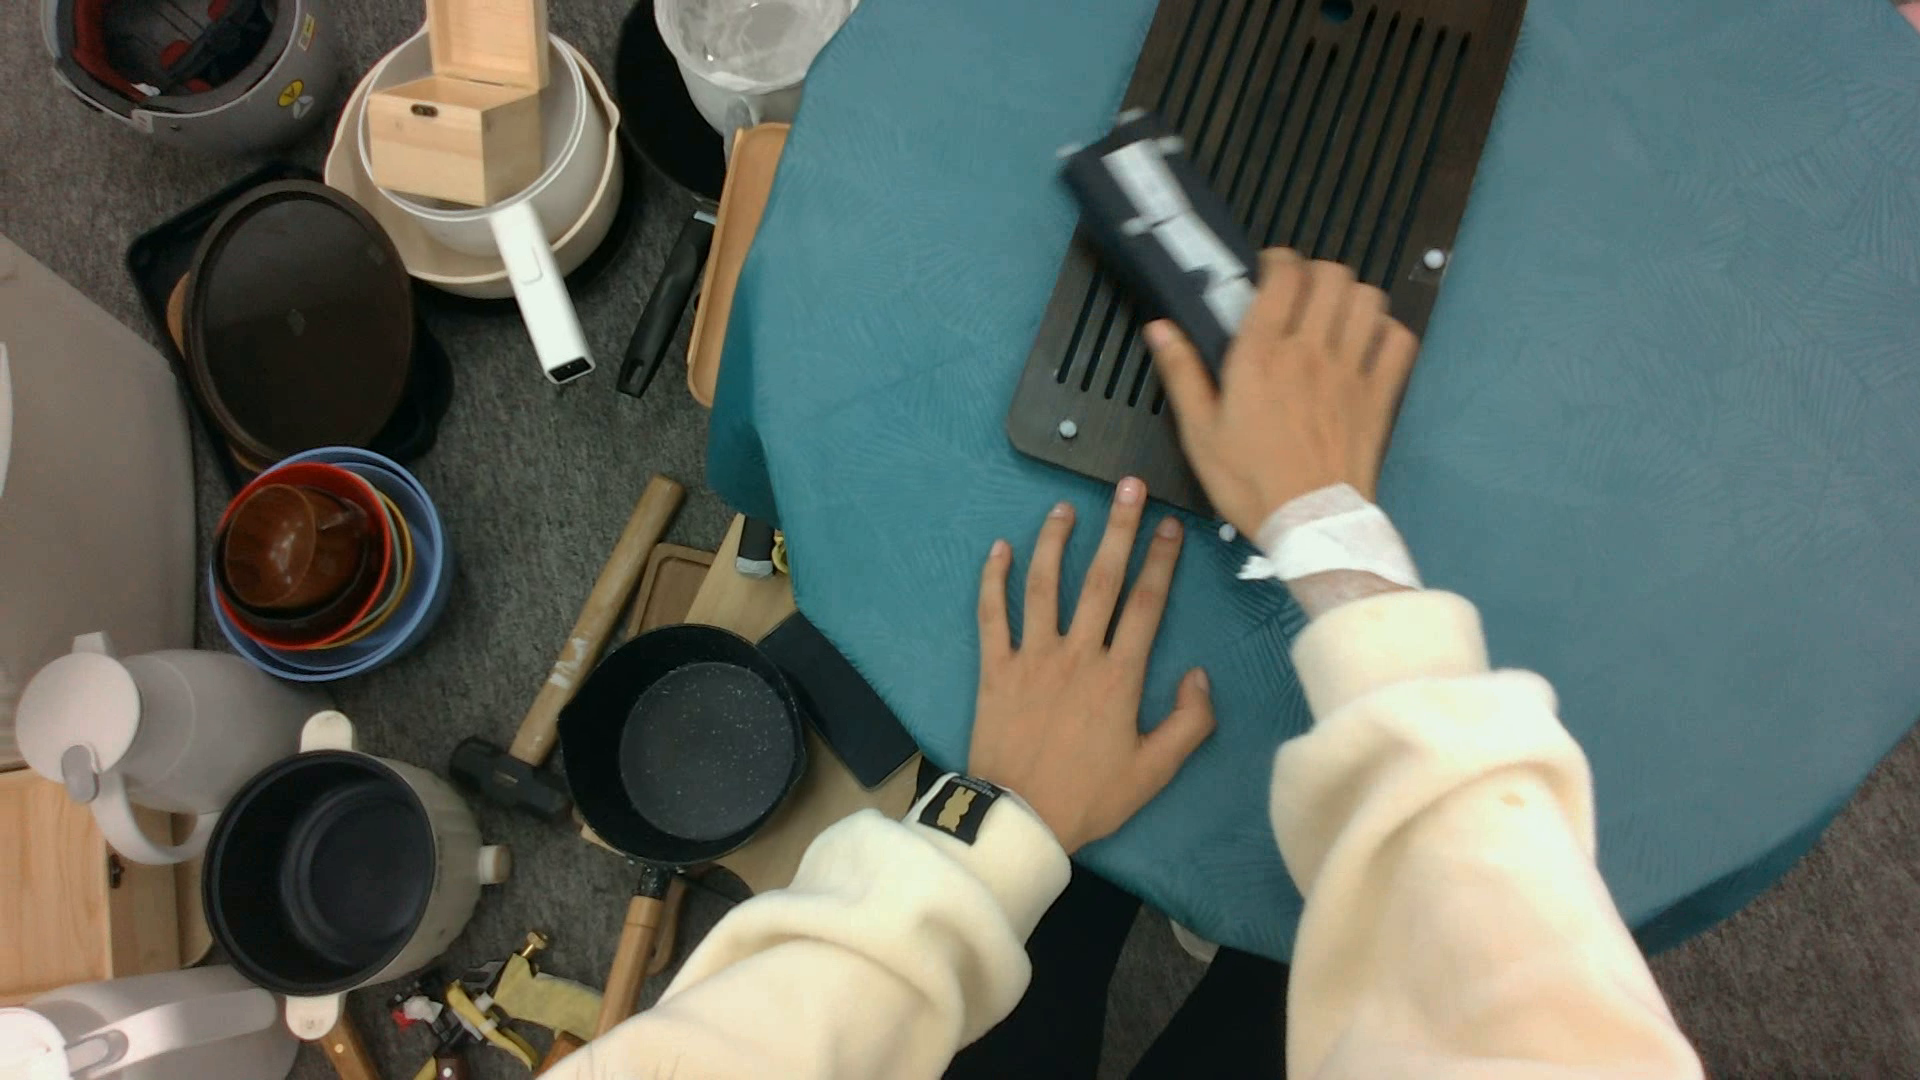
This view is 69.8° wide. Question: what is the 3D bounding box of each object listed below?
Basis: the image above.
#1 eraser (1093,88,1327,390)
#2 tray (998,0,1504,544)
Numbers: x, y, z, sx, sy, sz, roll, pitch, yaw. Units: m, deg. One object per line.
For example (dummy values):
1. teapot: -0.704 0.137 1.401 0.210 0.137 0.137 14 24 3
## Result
1. eraser: 0.109 -0.132 0.611 0.053 0.030 0.125 -27 87 -6
2. tray: 0.143 -0.161 0.662 0.170 0.018 0.306 18 78 6
